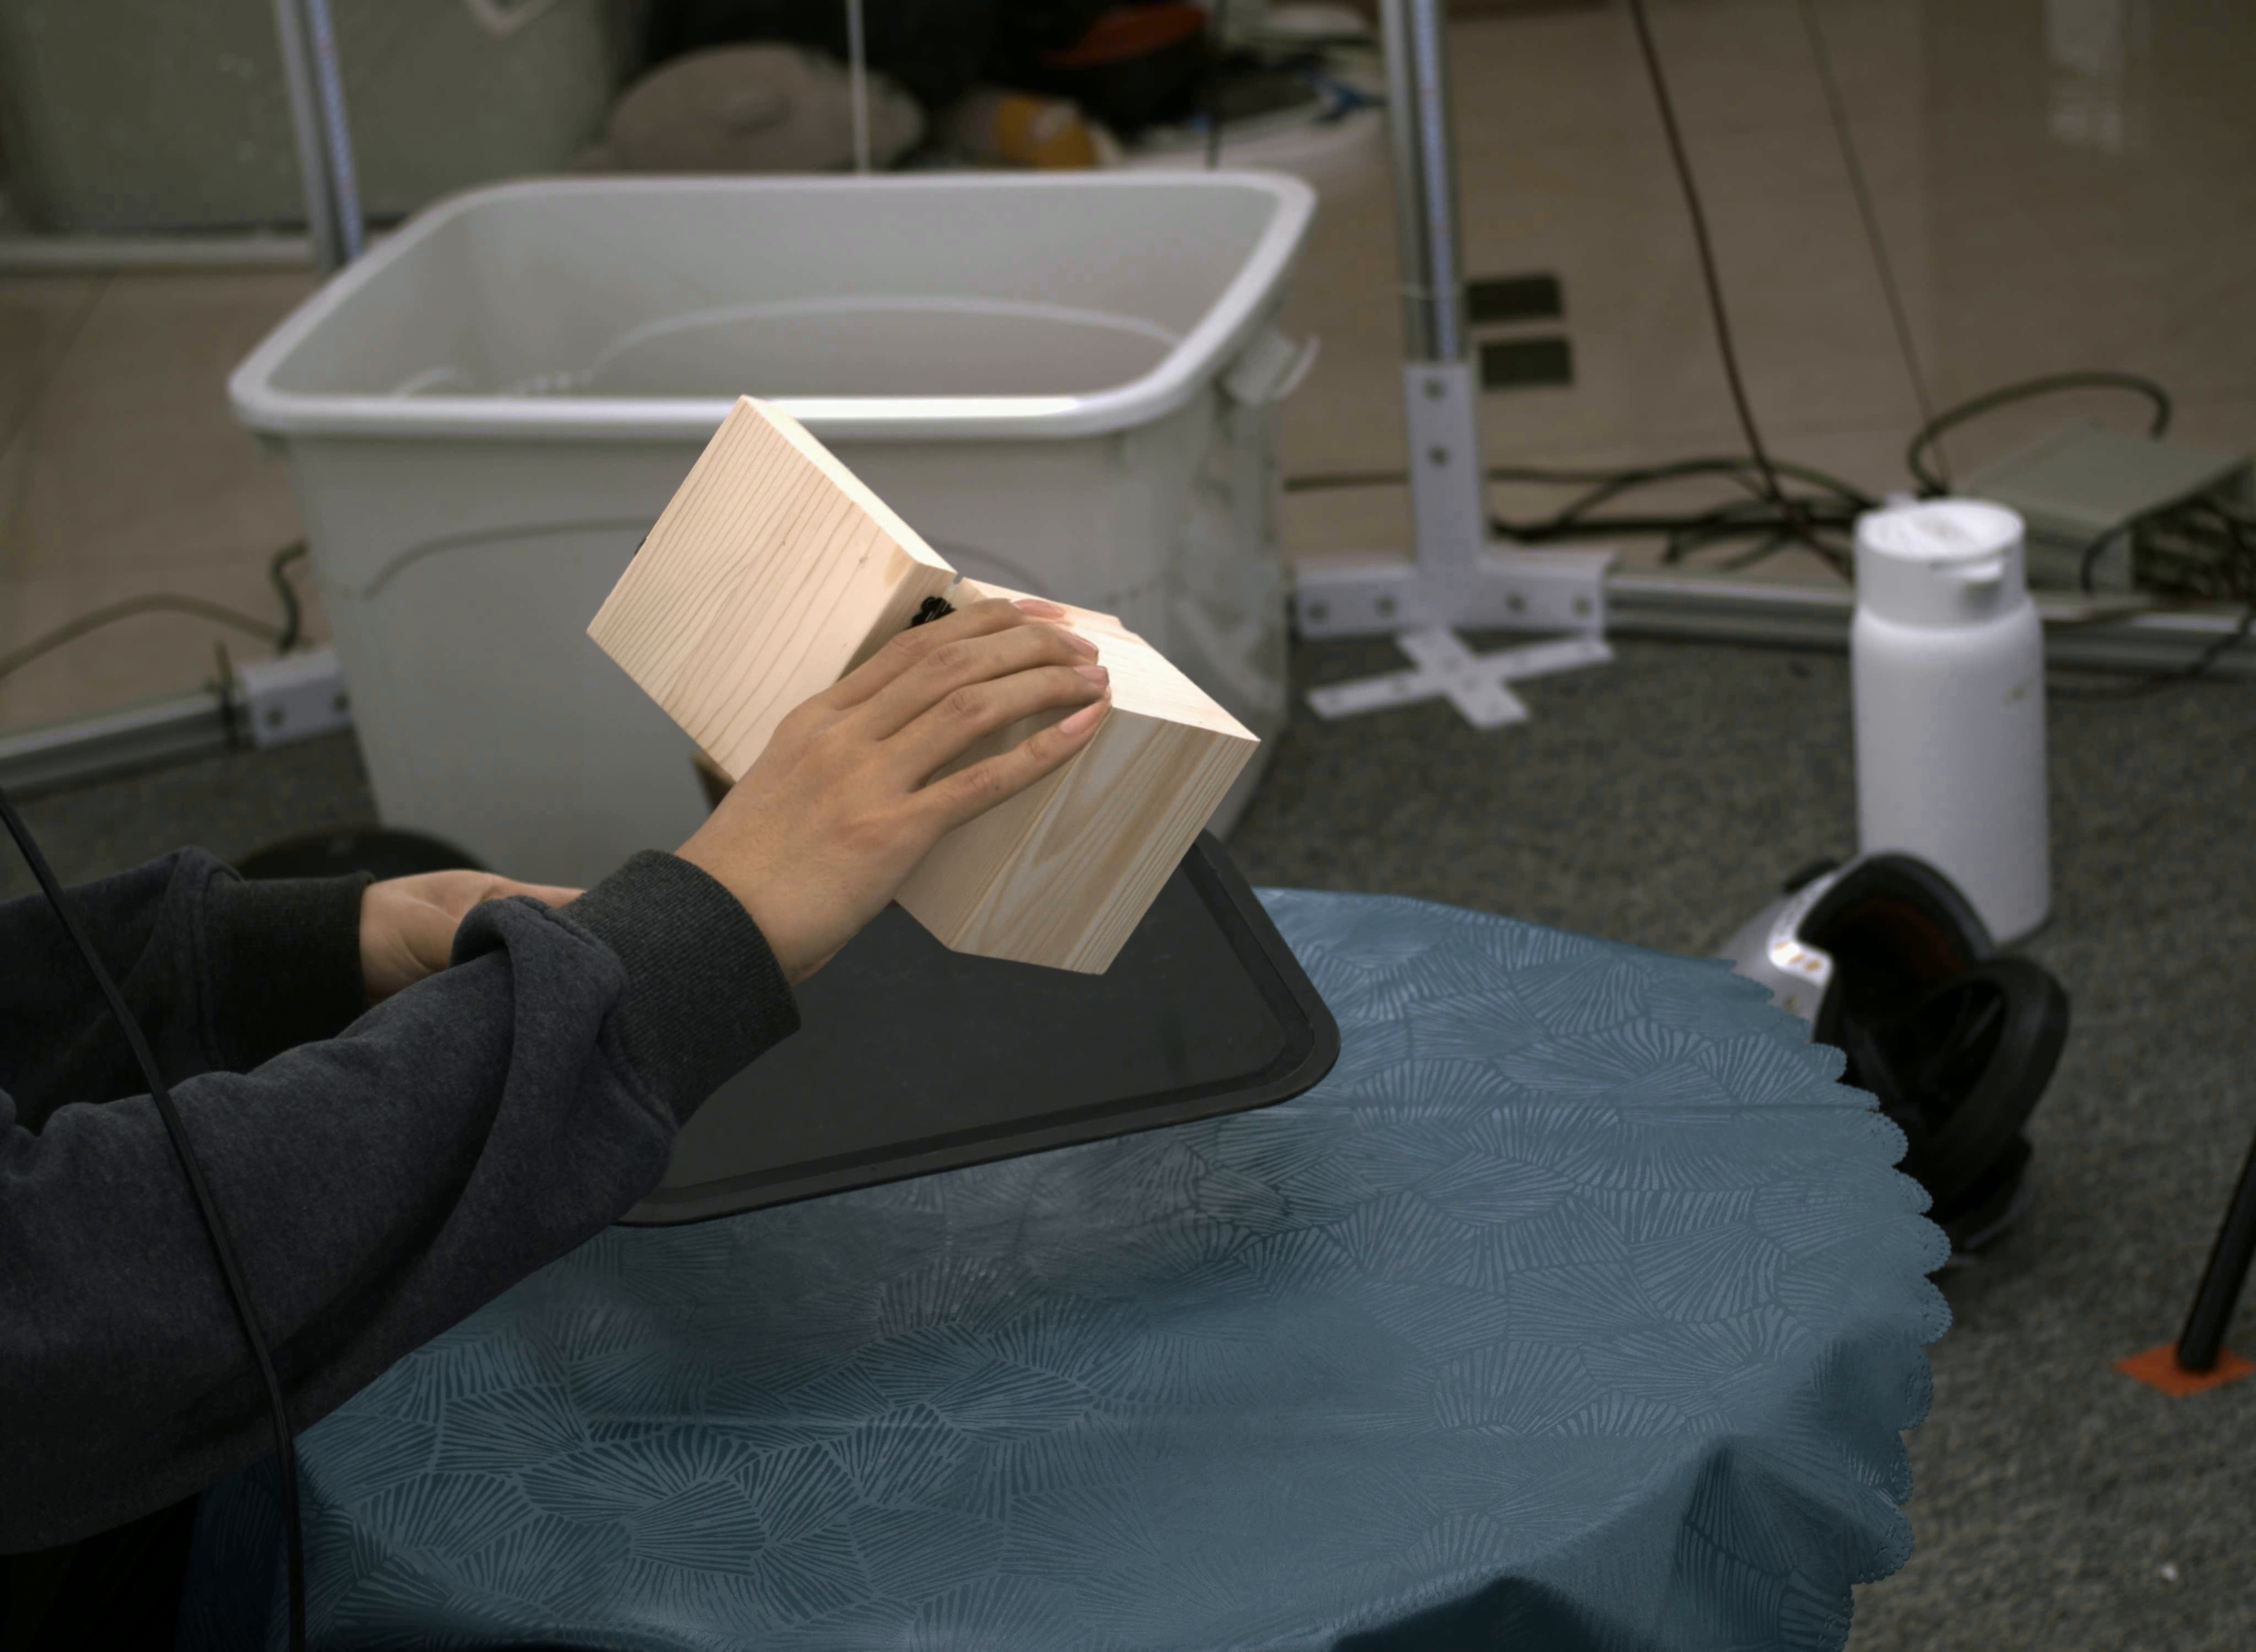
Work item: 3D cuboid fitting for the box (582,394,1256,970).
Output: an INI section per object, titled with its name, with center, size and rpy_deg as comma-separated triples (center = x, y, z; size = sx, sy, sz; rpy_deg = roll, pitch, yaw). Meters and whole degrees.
[box]
center = -0.072, -0.049, 1.950
size = 0.182, 0.103, 0.134
rpy_deg = 43, 16, 26

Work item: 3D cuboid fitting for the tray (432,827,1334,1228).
[tray]
center = -0.097, 0.069, 2.117
size = 0.324, 0.010, 0.207
rpy_deg = -10, 35, -15
